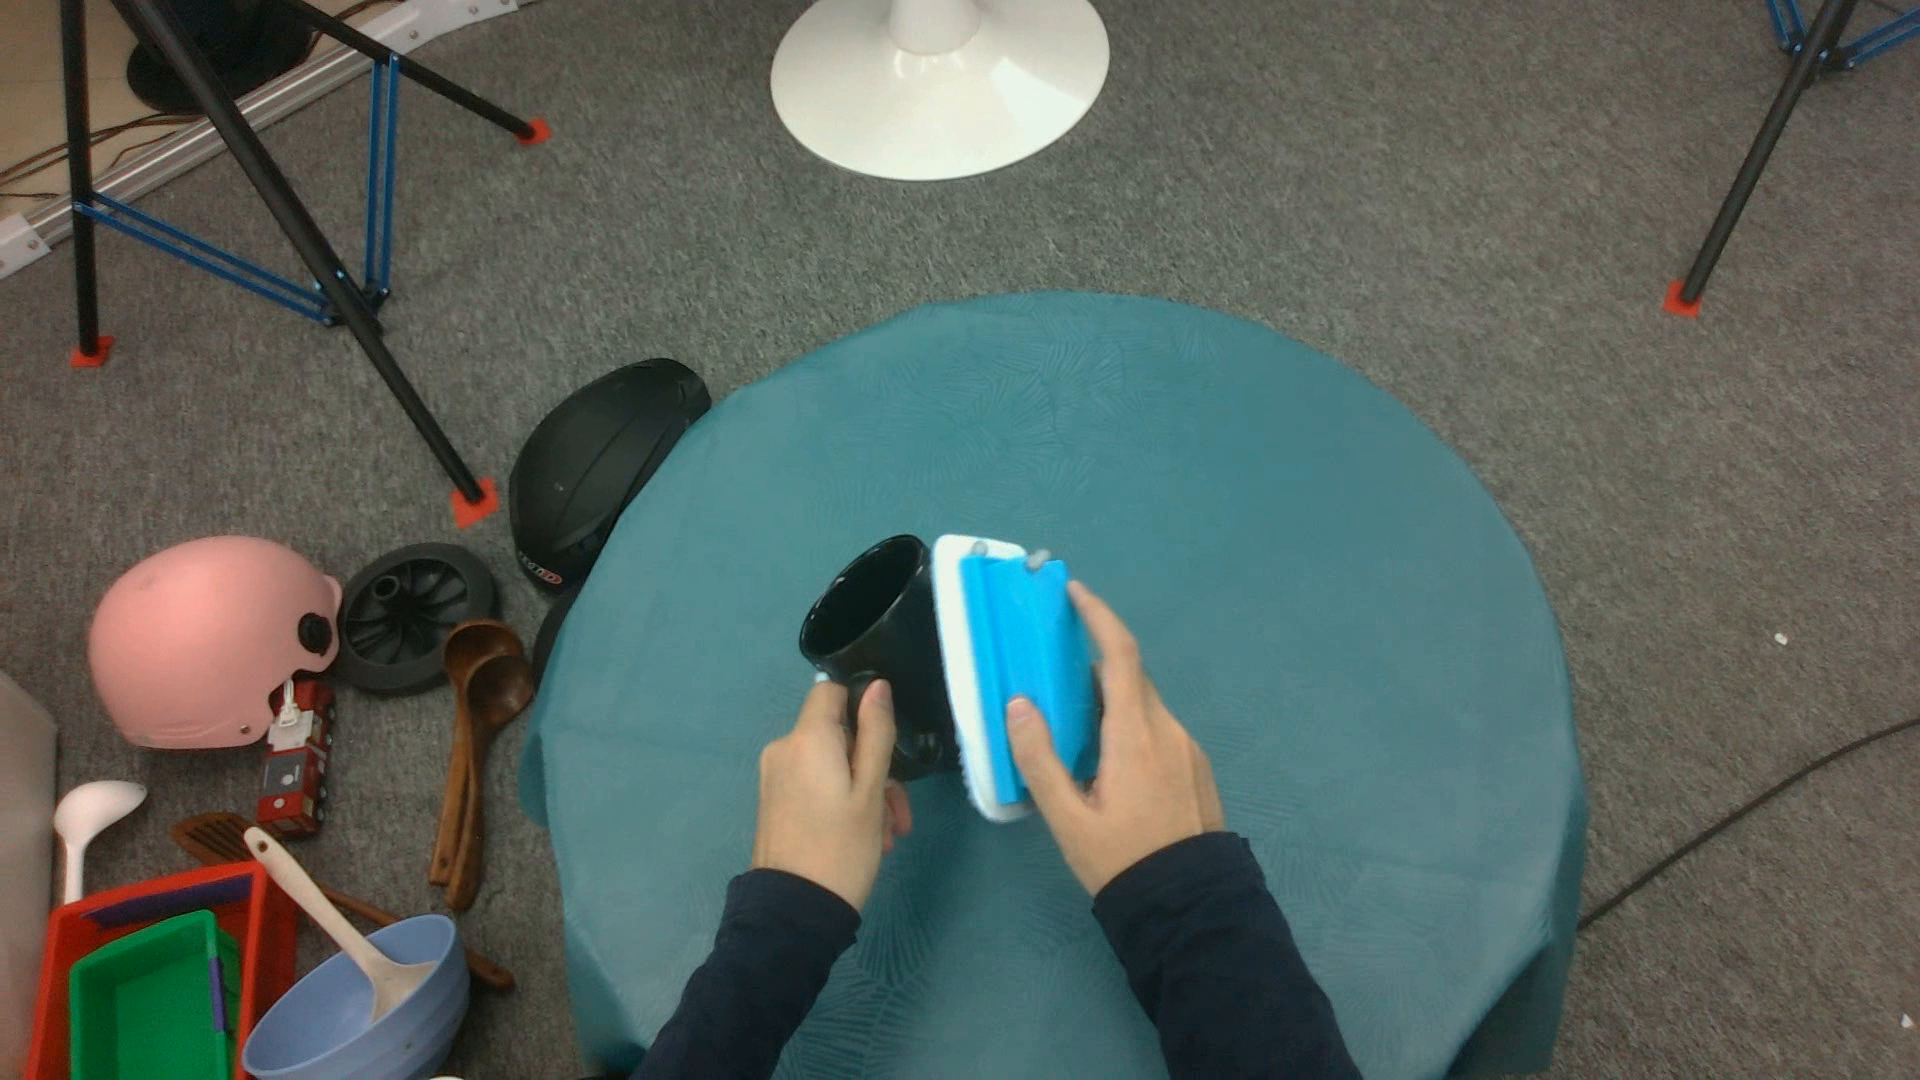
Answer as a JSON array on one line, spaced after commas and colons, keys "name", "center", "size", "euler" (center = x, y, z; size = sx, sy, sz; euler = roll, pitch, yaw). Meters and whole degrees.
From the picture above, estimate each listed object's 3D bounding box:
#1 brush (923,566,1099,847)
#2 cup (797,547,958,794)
[{"name": "brush", "center": [0.032, 0.077, 0.685], "size": [0.055, 0.084, 0.144], "euler": [-26, 69, 38]}, {"name": "cup", "center": [-0.028, 0.081, 0.748], "size": [0.088, 0.105, 0.124], "euler": [-21, 34, 31]}]
